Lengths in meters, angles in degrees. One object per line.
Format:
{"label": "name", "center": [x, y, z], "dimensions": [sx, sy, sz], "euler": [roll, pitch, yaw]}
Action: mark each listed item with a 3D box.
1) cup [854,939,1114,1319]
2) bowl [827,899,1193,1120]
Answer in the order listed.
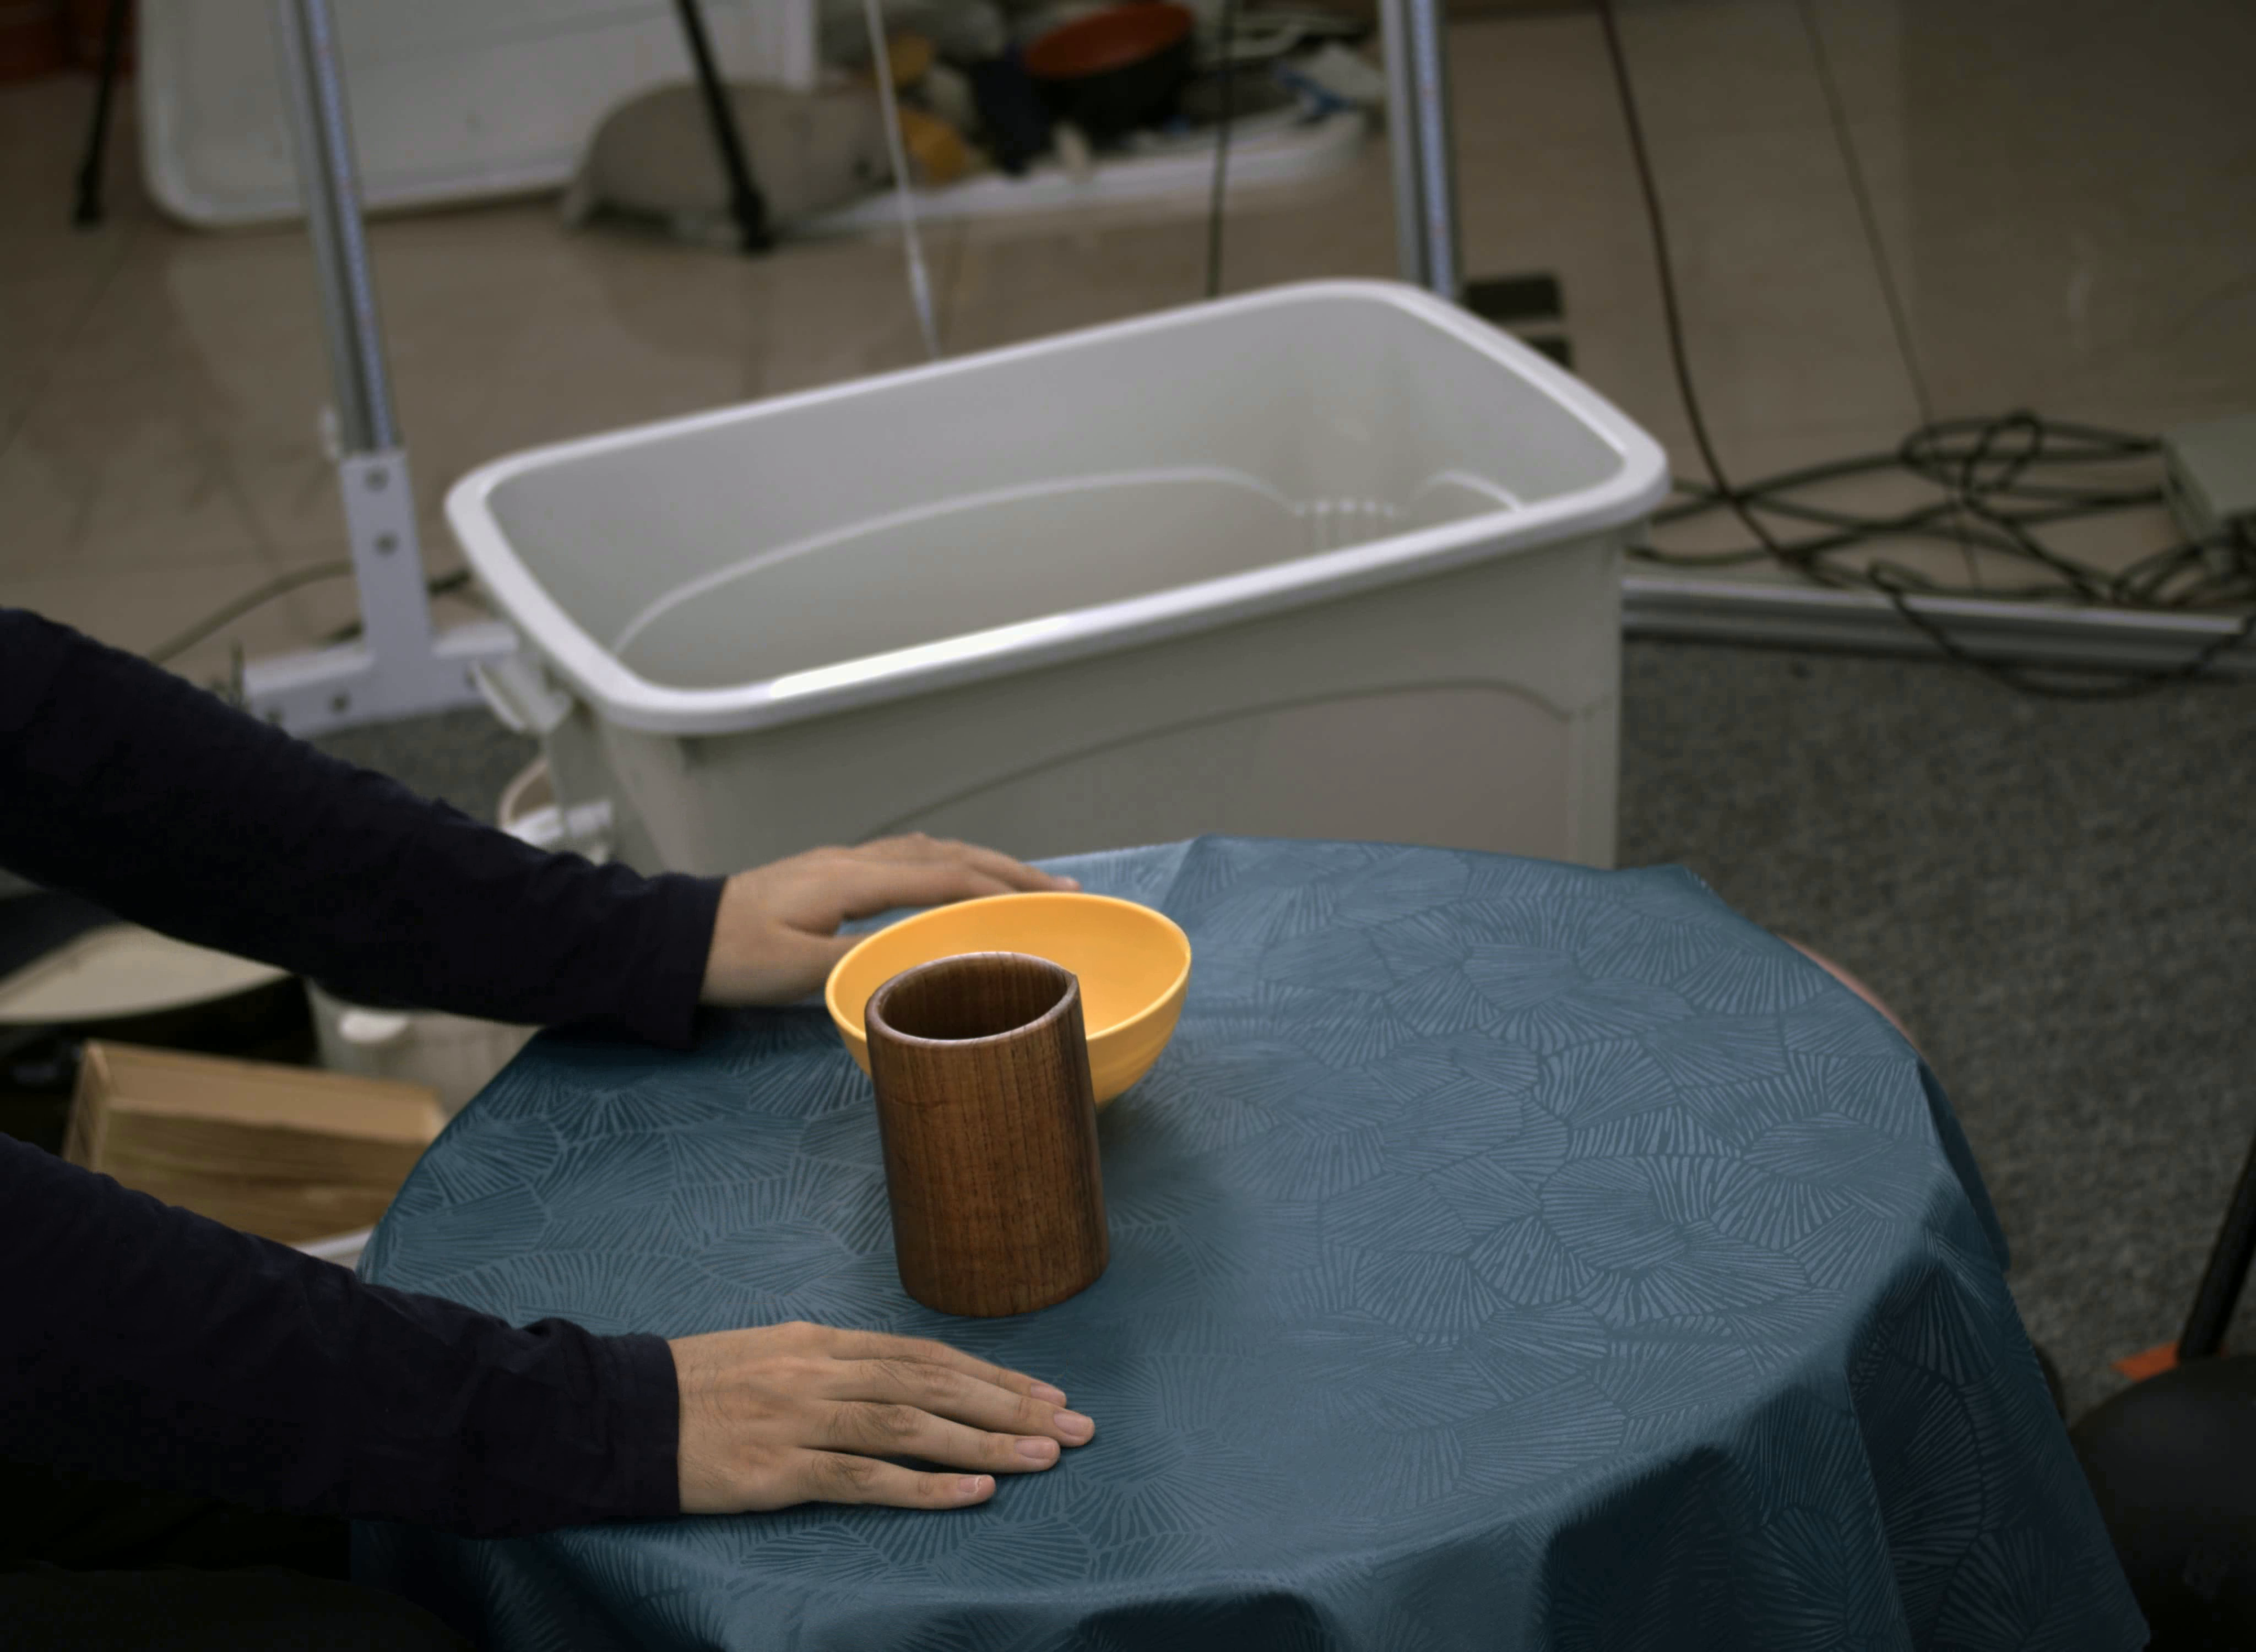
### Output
{"label": "cup", "center": [-0.052, 0.111, 2.080], "dimensions": [0.087, 0.120, 0.086], "euler": [-6, 24, 3]}
{"label": "bowl", "center": [-0.042, 0.084, 2.209], "dimensions": [0.145, 0.061, 0.143], "euler": [-7, 24, 3]}
